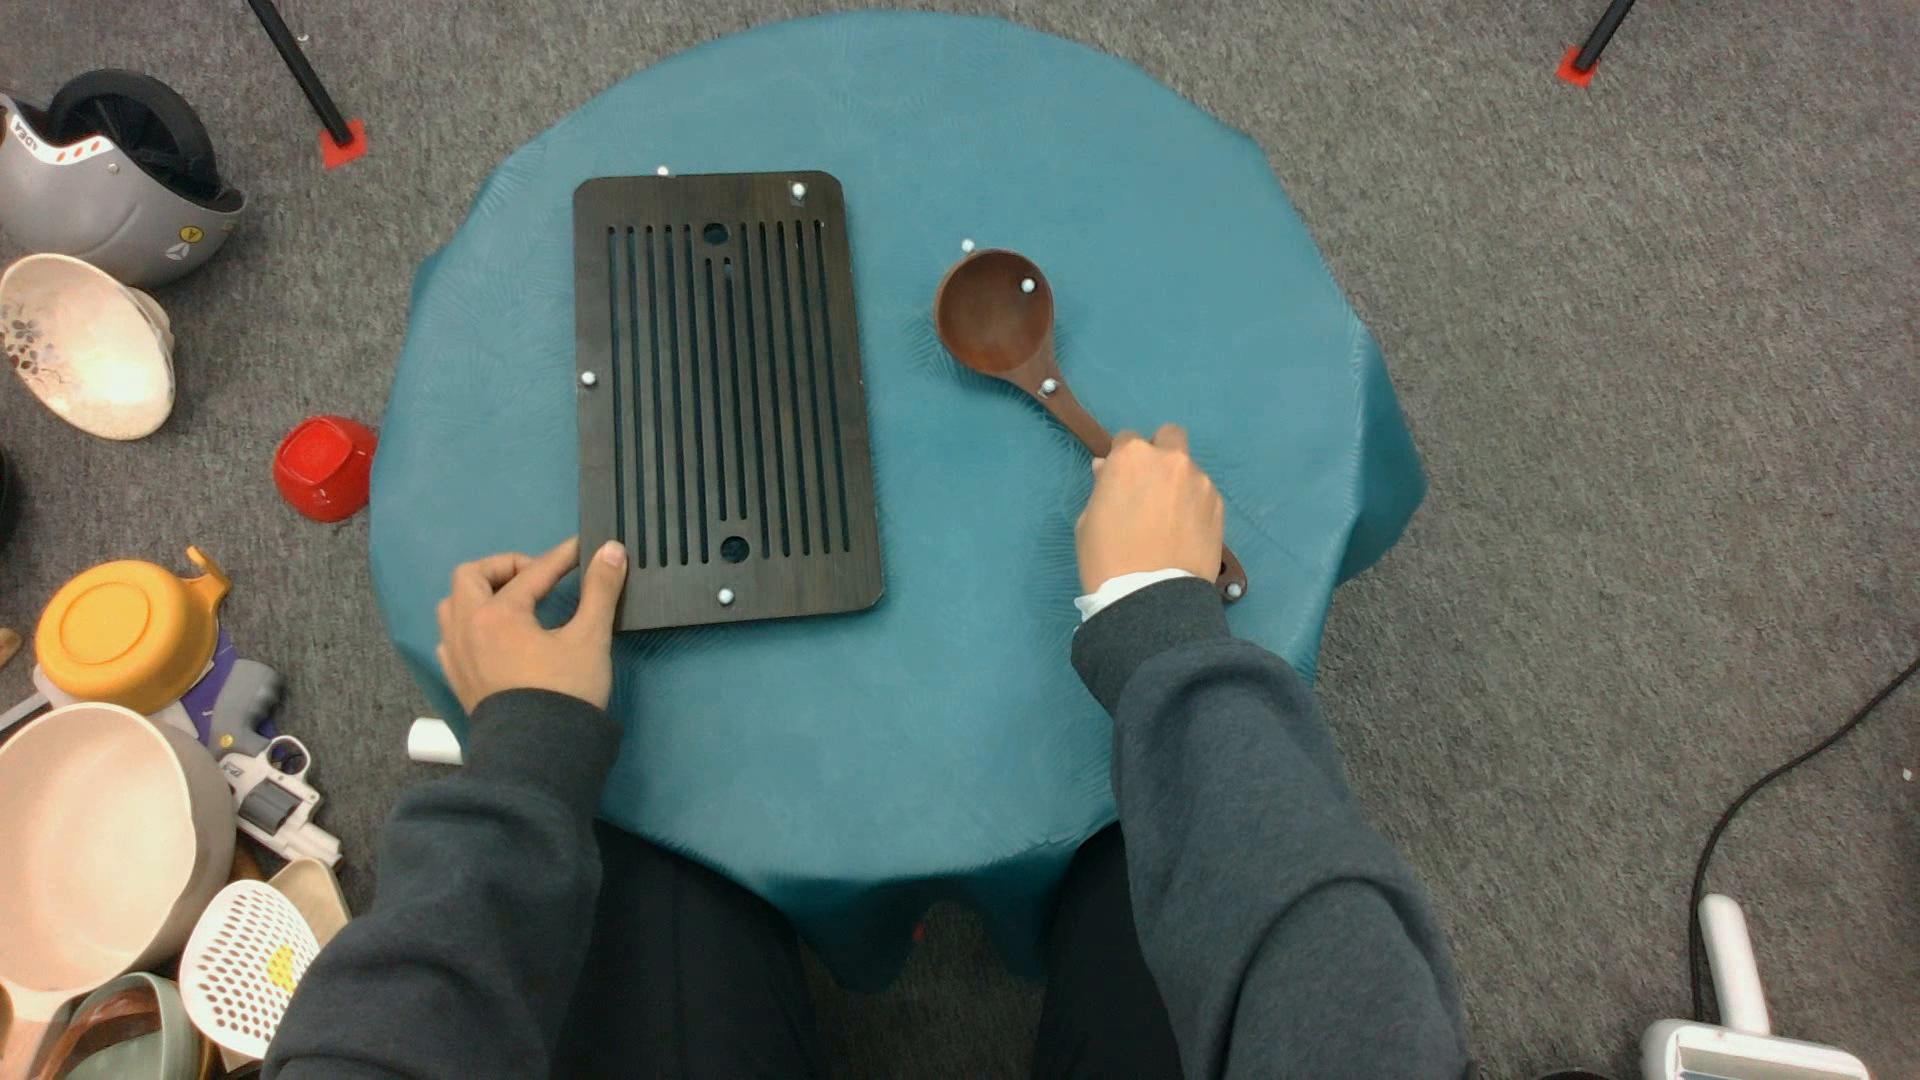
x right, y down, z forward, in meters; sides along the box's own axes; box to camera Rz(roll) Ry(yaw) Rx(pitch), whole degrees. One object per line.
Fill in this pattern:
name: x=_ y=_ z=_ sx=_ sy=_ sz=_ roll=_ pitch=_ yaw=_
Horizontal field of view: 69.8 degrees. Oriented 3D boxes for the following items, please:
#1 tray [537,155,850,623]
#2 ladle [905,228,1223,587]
tray: x=-0.164 y=-0.100 z=0.828 sx=0.170 sy=0.018 sz=0.307 roll=-5 pitch=68 yaw=-8
ladle: x=0.063 y=-0.077 z=0.803 sx=0.076 sy=0.065 sz=0.260 roll=-39 pitch=73 yaw=-2
